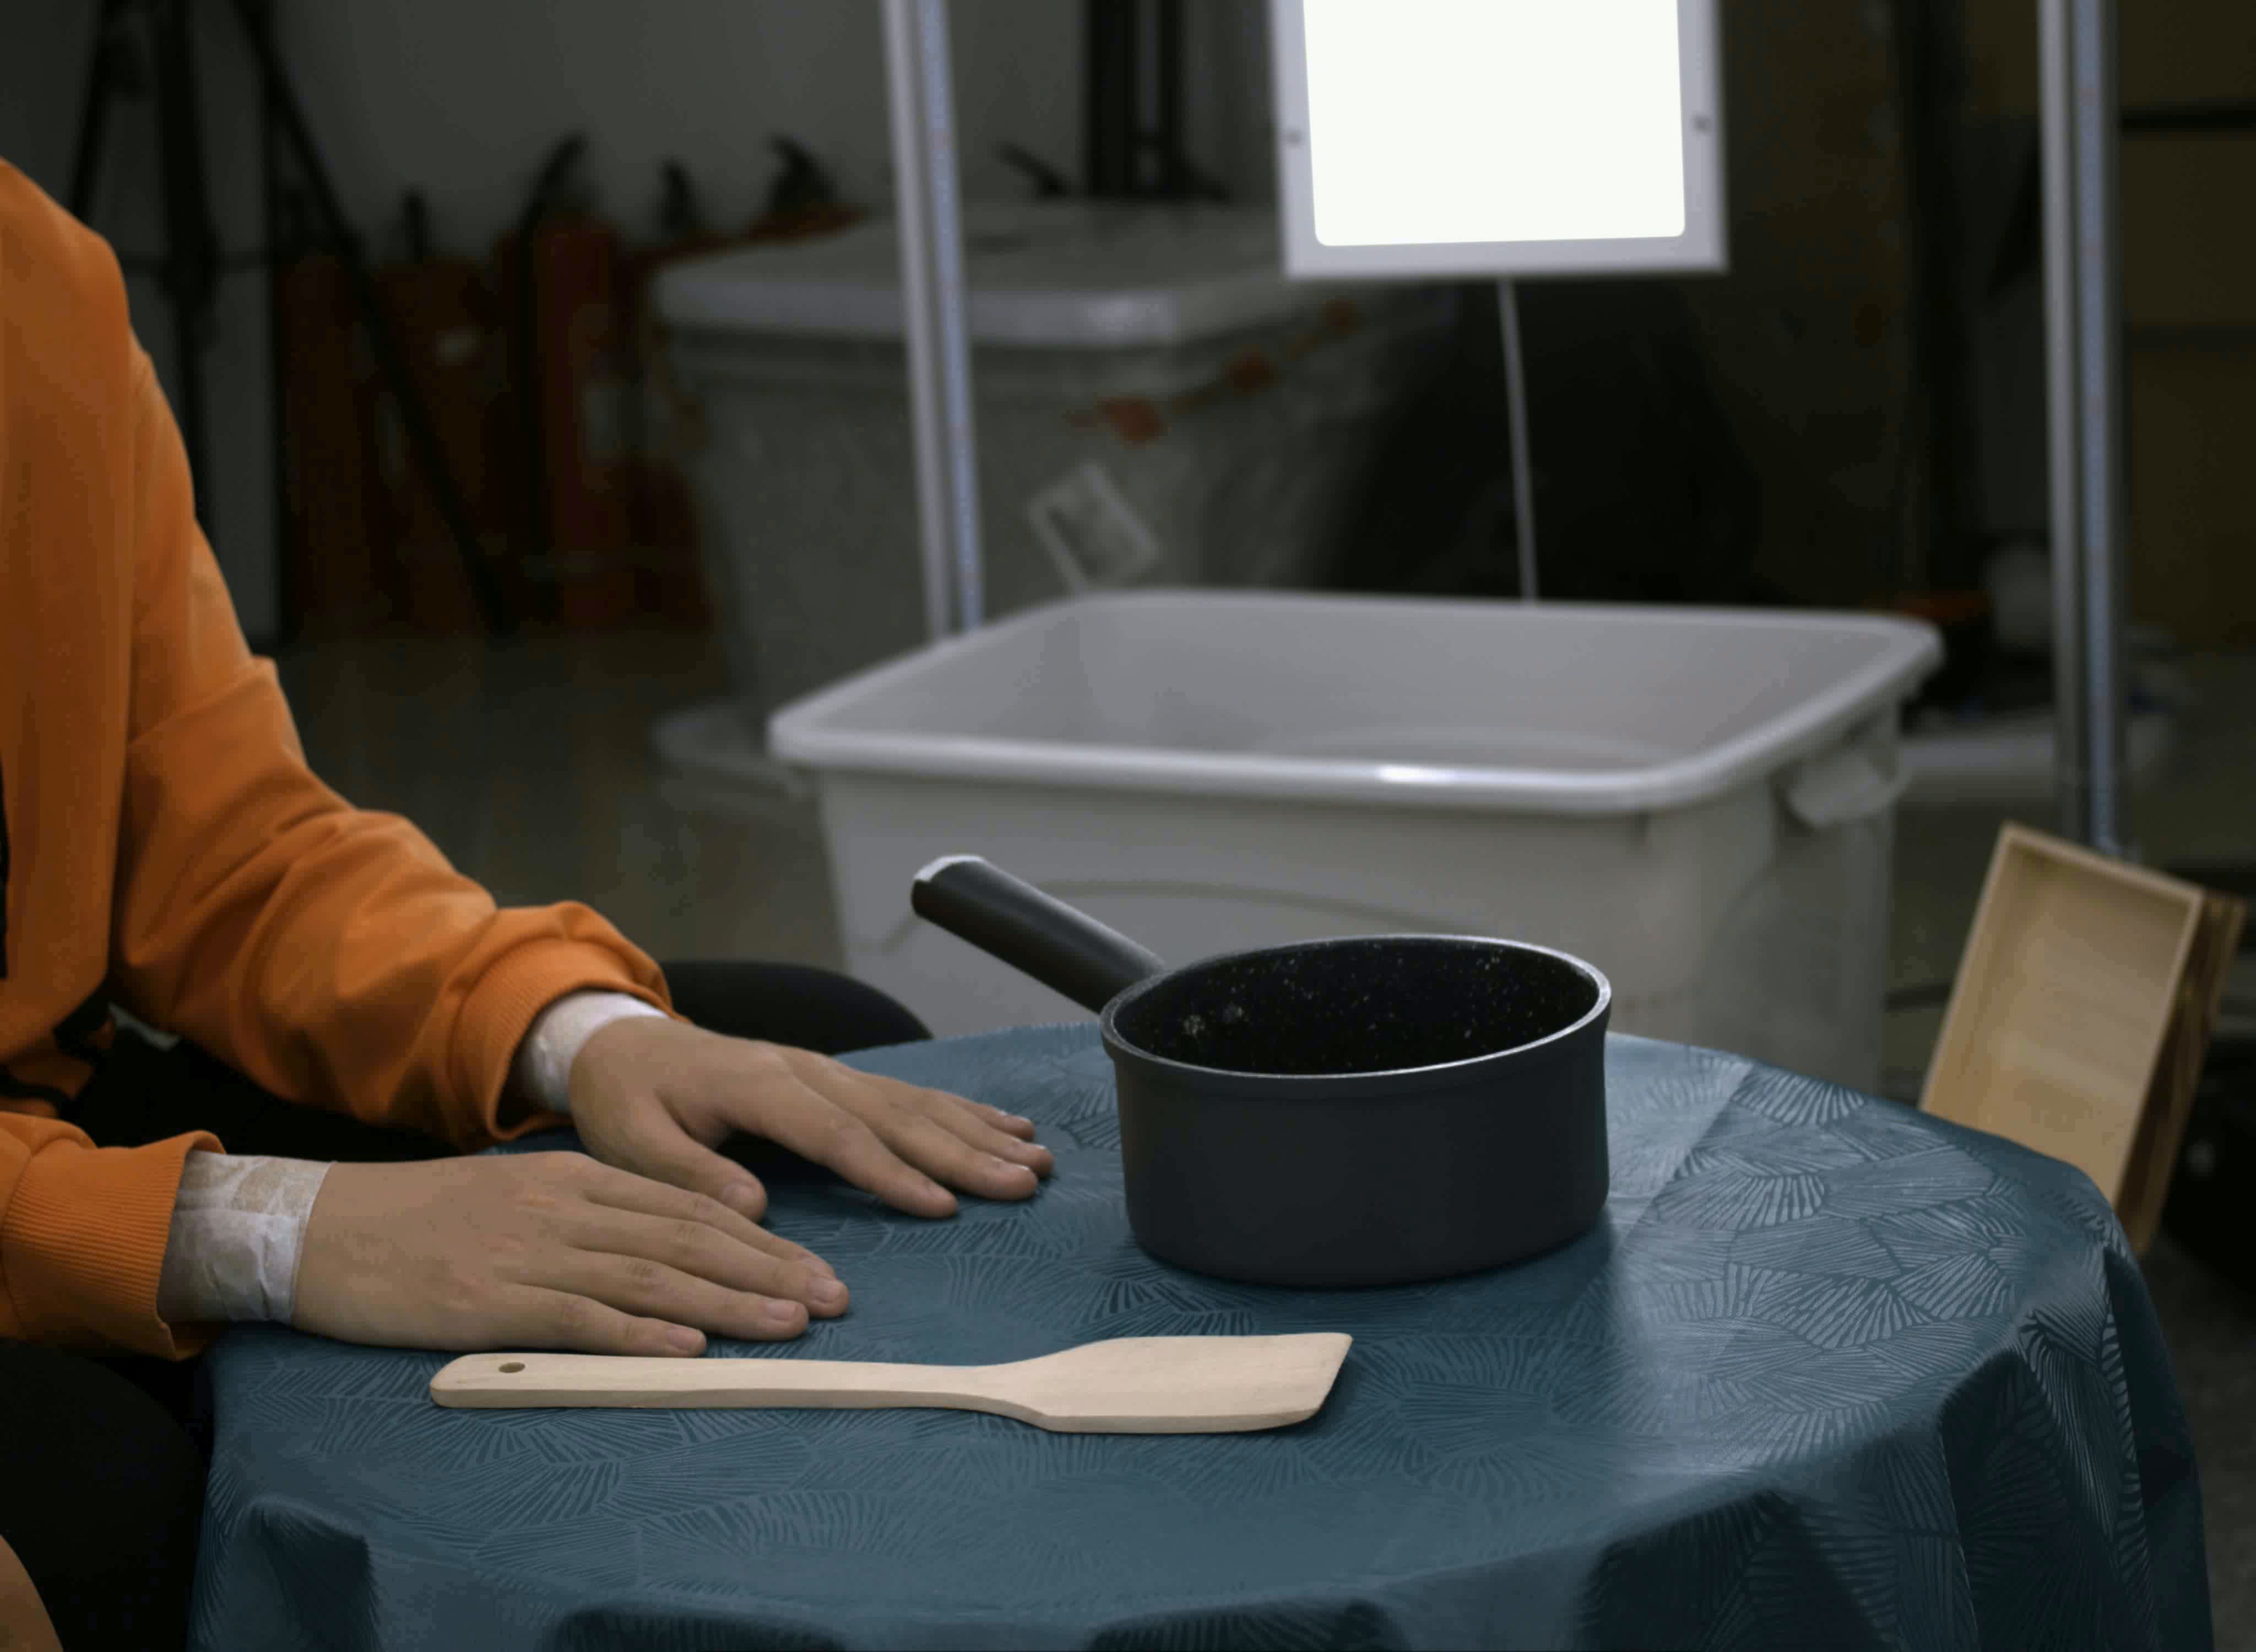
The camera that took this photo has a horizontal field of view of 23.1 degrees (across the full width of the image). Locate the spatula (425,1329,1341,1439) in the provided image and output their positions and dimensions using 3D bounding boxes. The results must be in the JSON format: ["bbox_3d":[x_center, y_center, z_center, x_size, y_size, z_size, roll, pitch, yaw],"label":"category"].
[{"bbox_3d":[-0.081,0.173,1.717,0.296,0.011,0.071,-1,18,16],"label":"spatula"}]

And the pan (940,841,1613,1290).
[{"bbox_3d":[0.034,0.078,1.905,0.168,0.087,0.335,-13,17,-31],"label":"pan"}]
